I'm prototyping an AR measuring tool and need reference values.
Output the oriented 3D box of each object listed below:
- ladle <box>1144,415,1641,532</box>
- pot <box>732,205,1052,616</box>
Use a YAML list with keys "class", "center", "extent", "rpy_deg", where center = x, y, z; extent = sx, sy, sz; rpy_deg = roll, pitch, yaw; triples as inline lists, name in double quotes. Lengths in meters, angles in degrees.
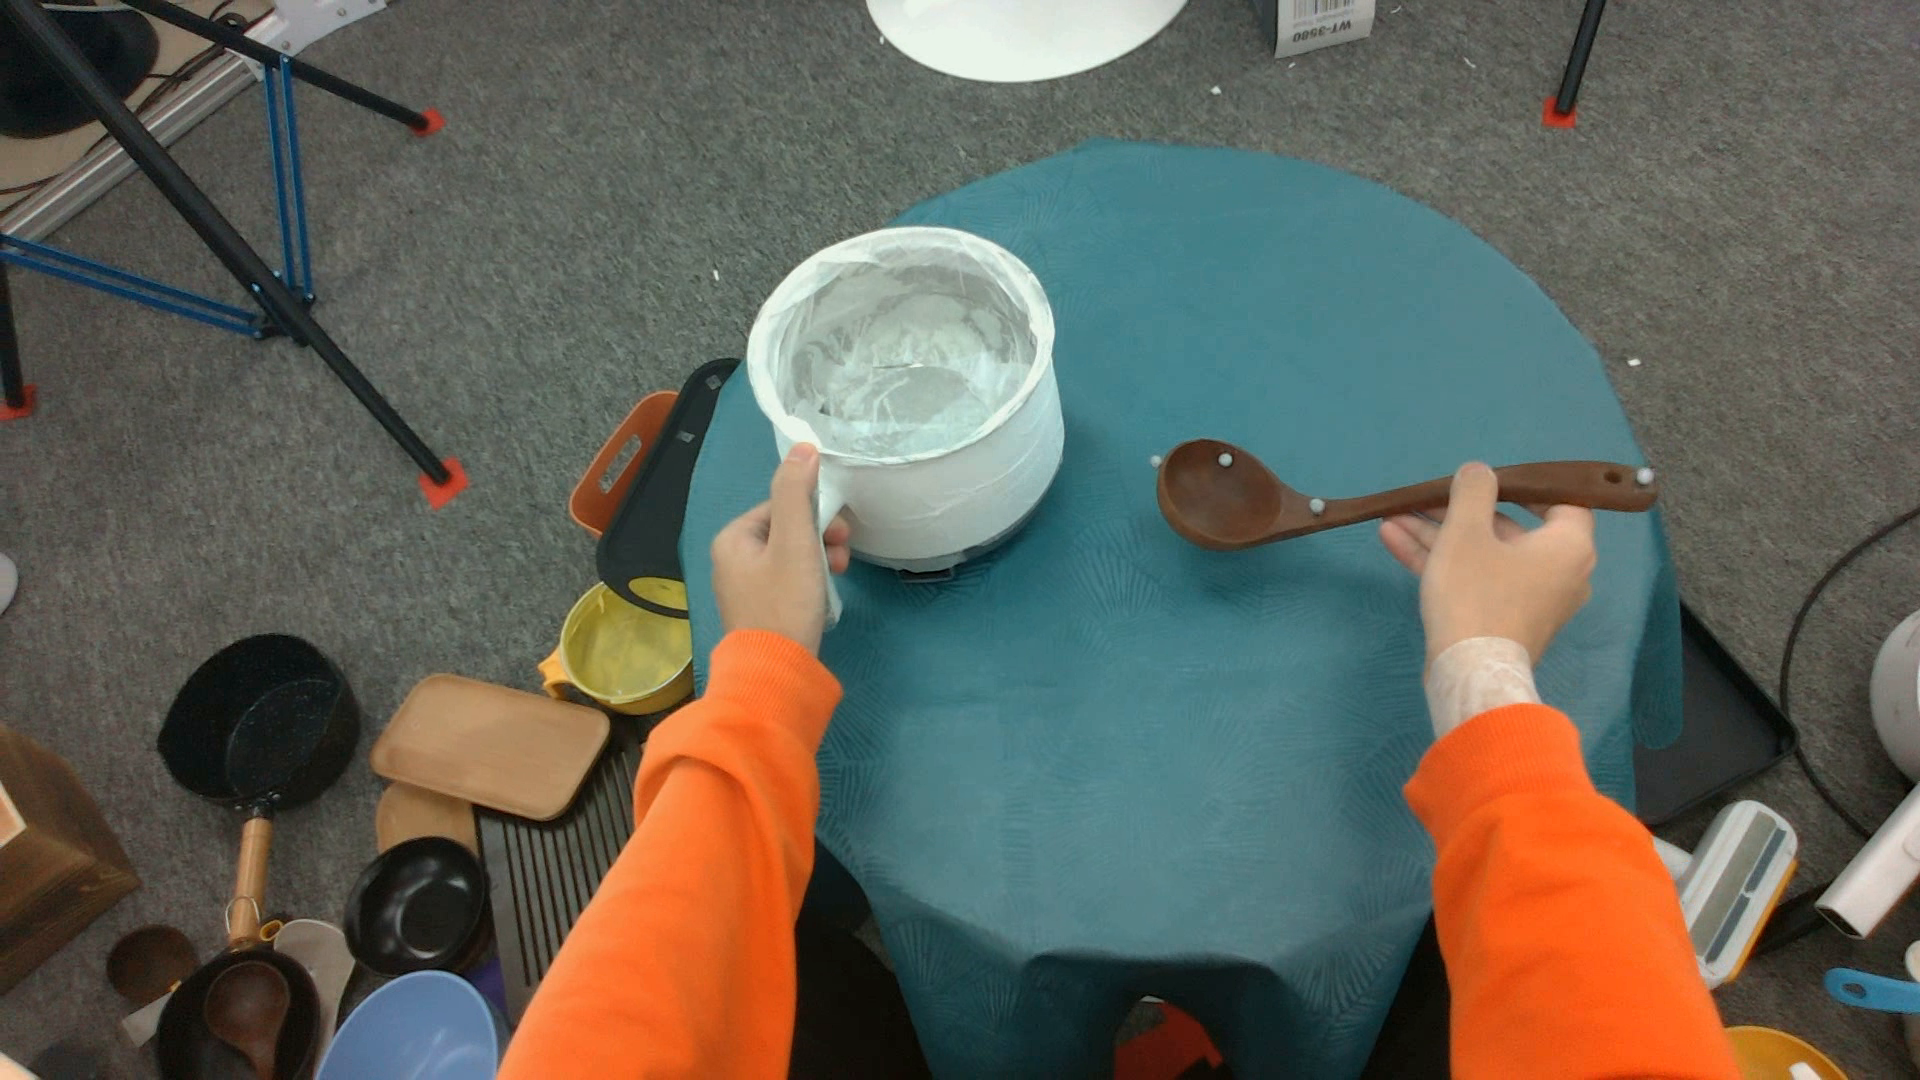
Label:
- class: "ladle"
  center: [0.227, -0.043, 0.756]
  extent: [0.259, 0.065, 0.077]
  rpy_deg: [-4, 51, 31]
- class: "pot"
  center: [-0.048, -0.071, 0.822]
  extent: [0.178, 0.136, 0.234]
  rpy_deg: [20, 63, 20]
